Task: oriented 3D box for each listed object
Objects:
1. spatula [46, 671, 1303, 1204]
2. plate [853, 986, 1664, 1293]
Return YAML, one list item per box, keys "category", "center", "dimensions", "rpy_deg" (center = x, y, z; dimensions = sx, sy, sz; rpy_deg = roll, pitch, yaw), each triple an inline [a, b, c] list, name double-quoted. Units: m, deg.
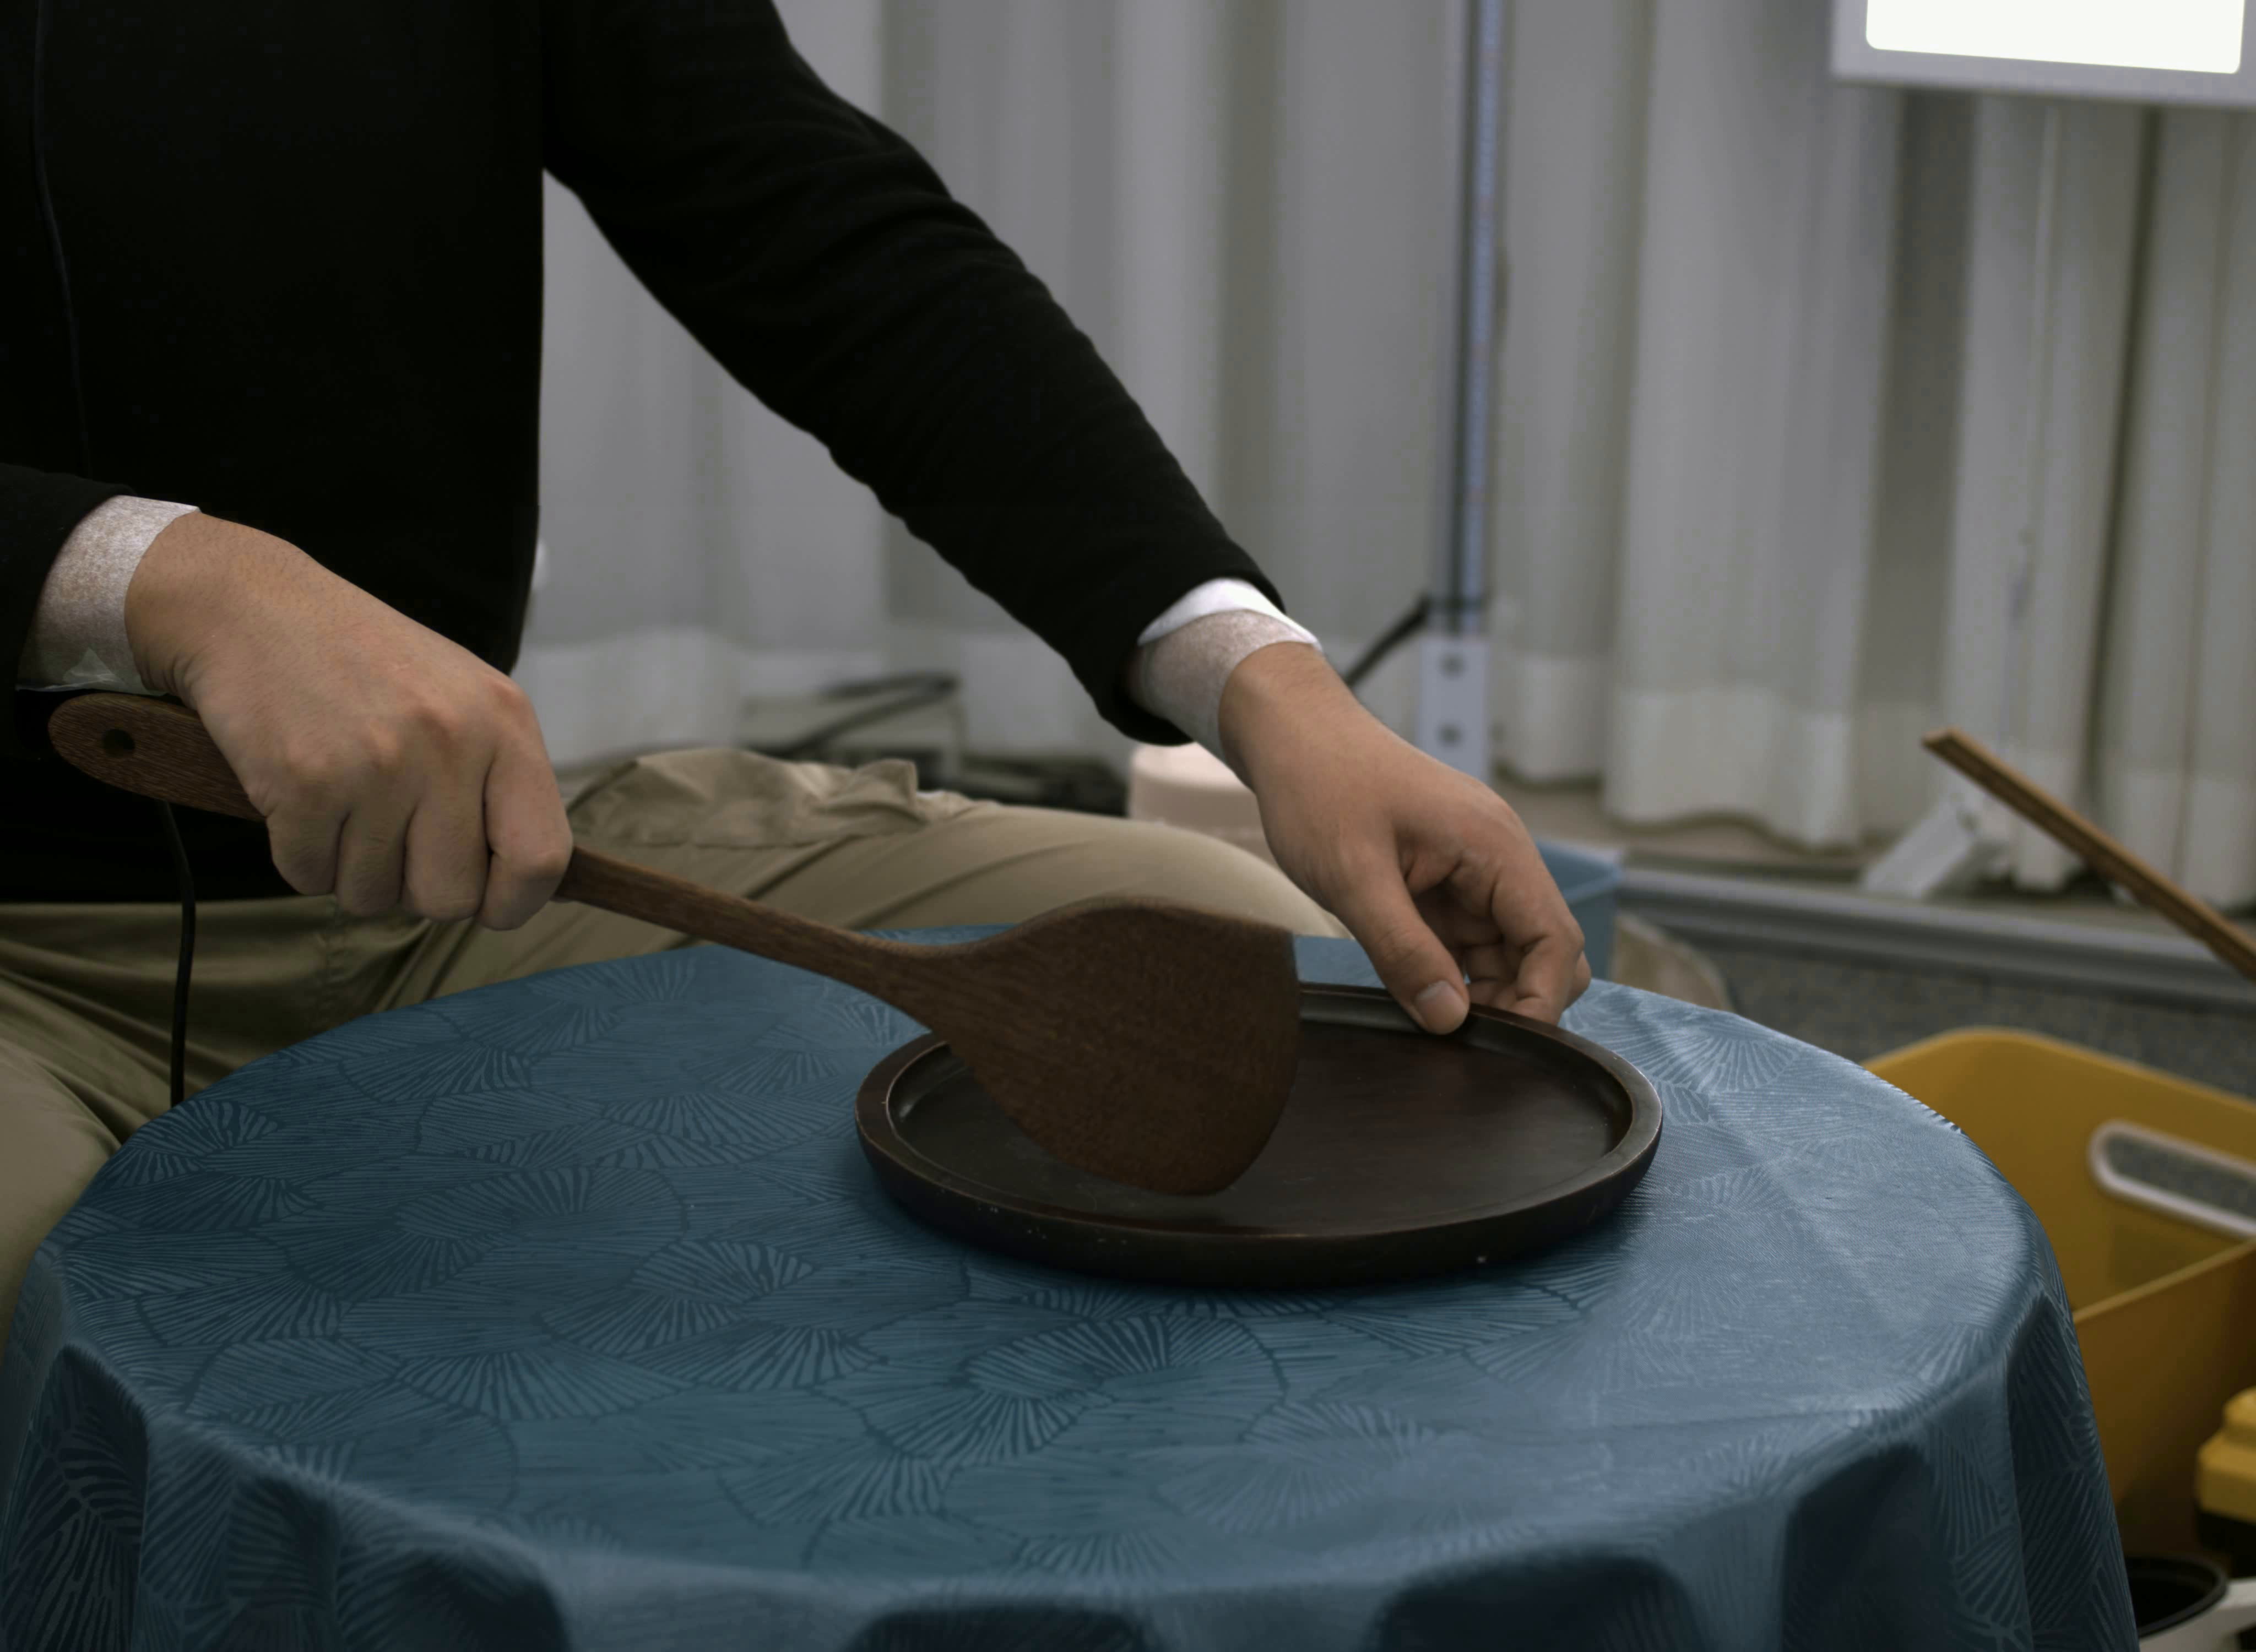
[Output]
- category: "spatula"
  center: [-0.136, 0.020, 1.553]
  dimensions: [0.384, 0.097, 0.016]
  rpy_deg: [18, 22, 2]
- category: "plate"
  center: [0.040, 0.094, 1.641]
  dimensions: [0.254, 0.029, 0.253]
  rpy_deg: [-1, 16, 1]
